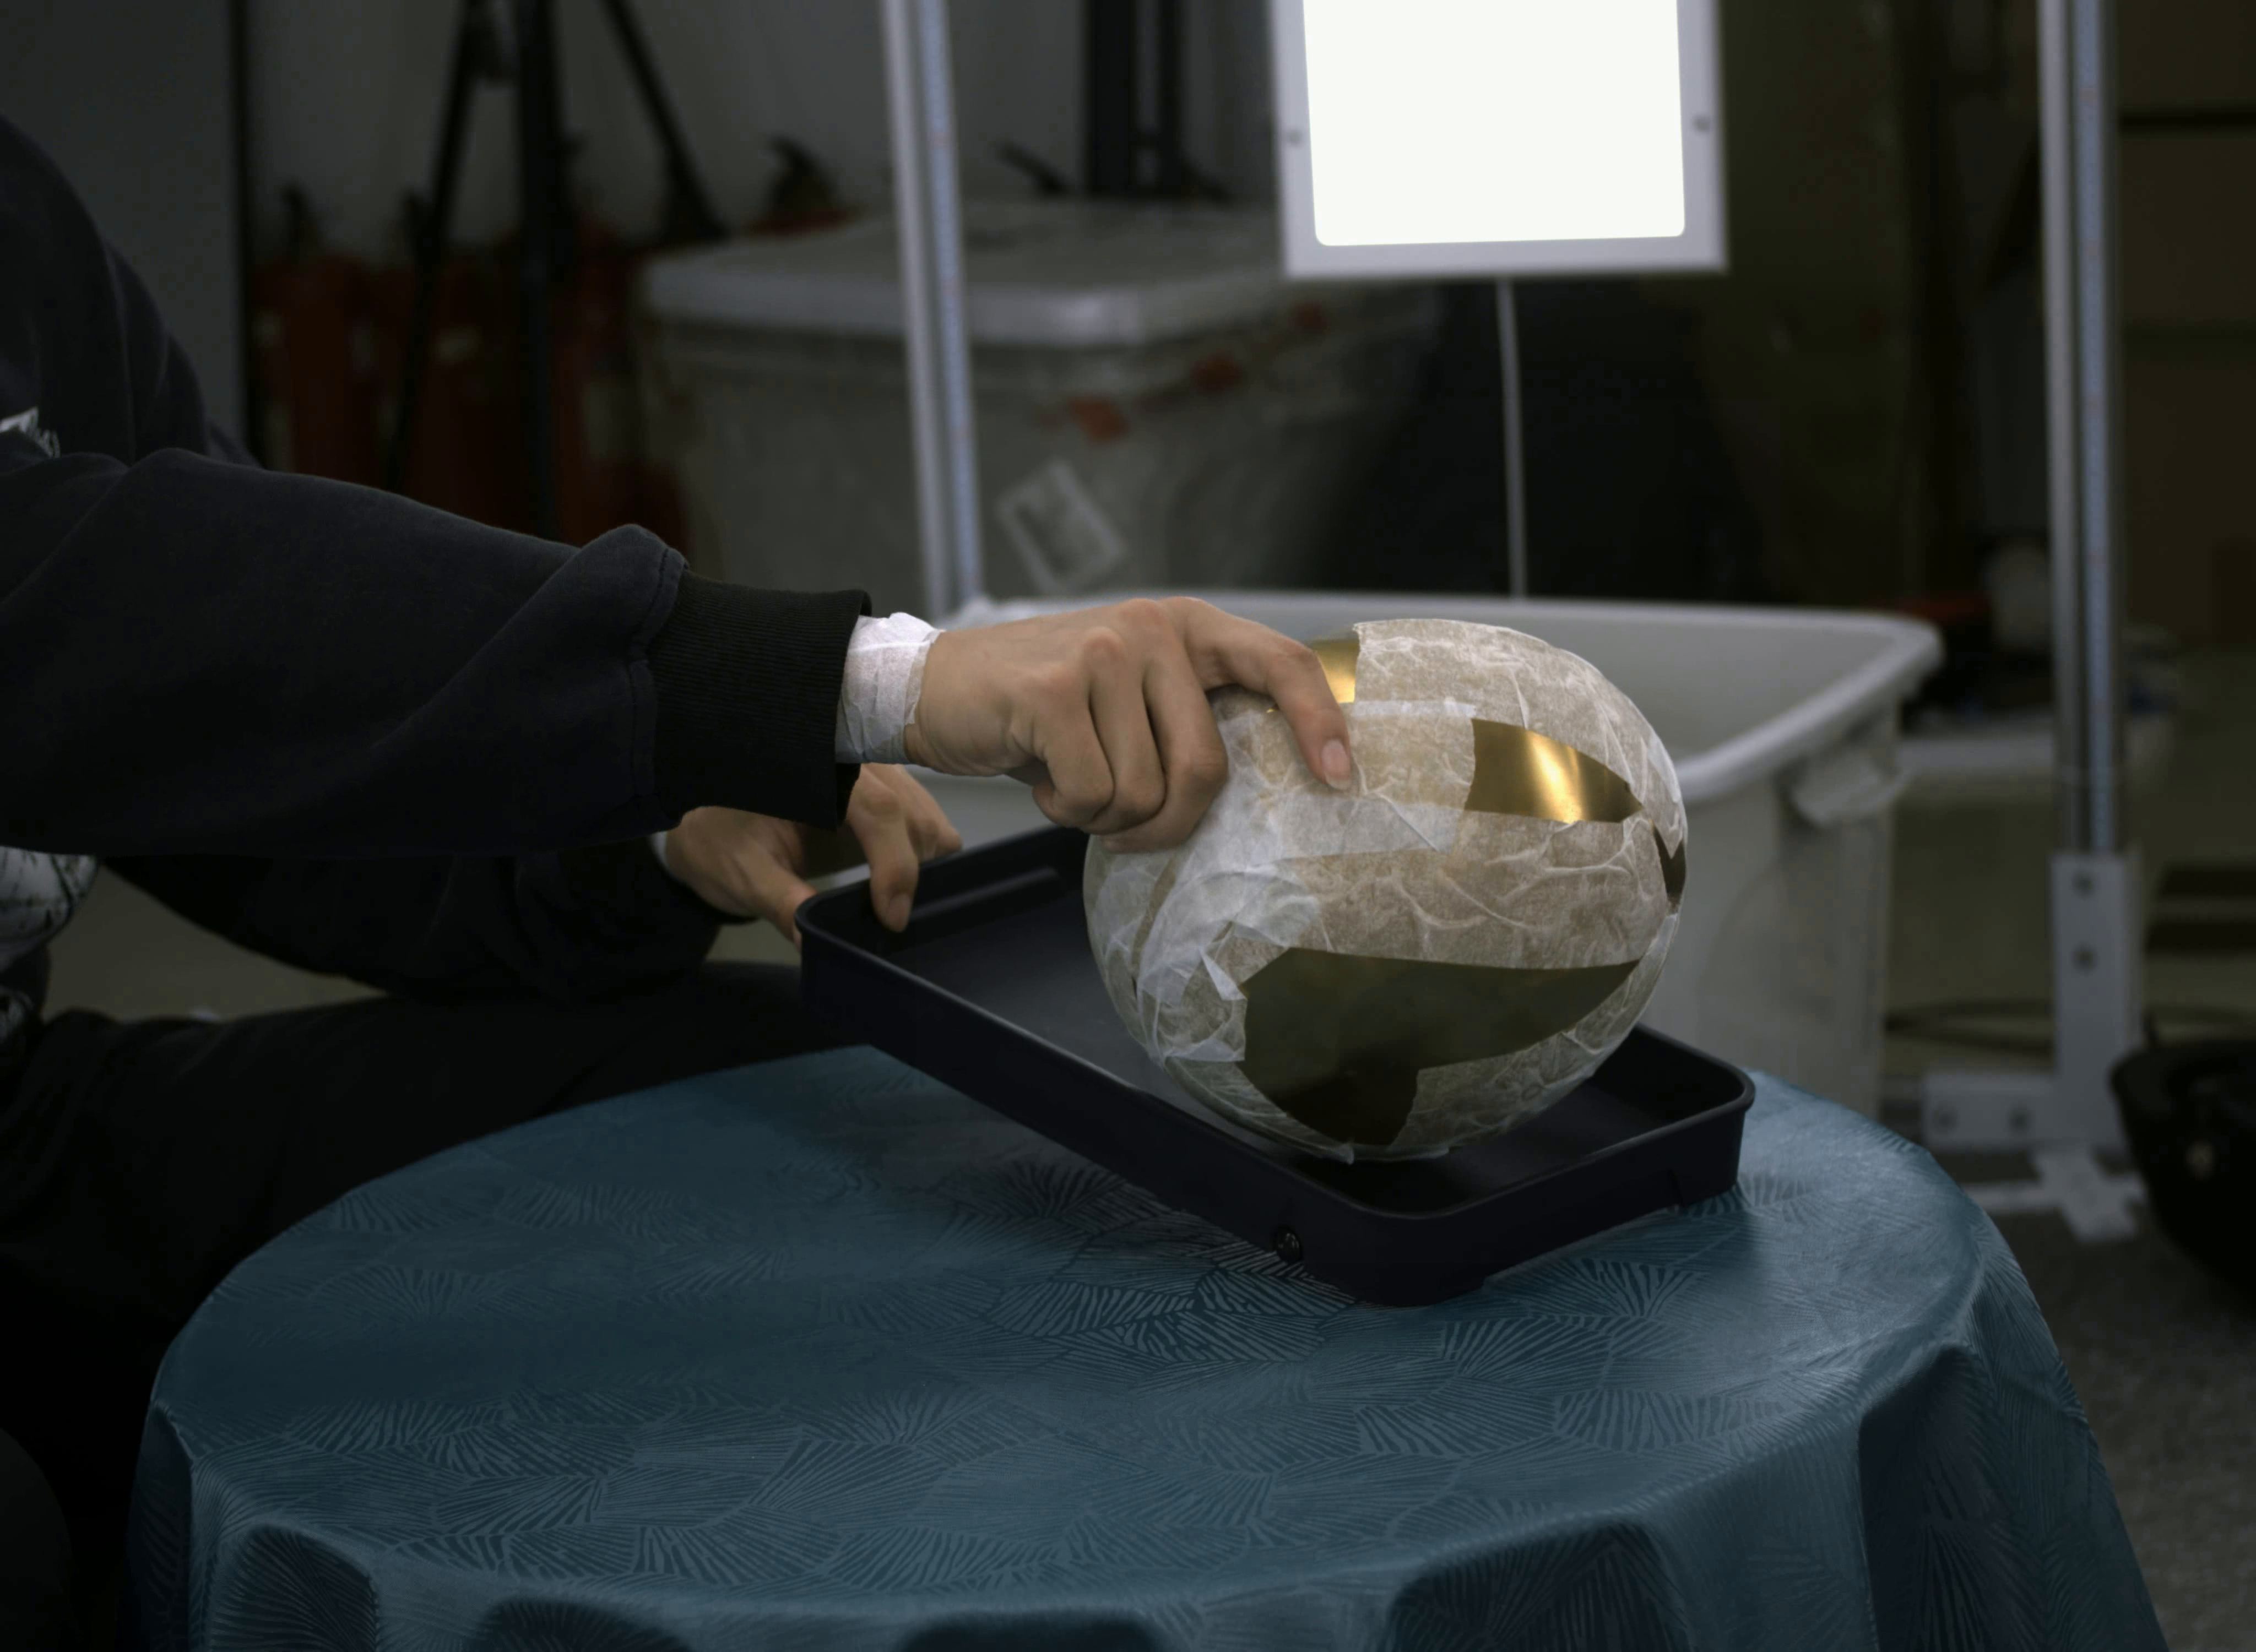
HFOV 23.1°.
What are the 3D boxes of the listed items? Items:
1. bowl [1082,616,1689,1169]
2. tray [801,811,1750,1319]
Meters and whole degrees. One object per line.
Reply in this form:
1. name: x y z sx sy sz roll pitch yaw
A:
1. bowl: 0.088 0.042 1.780 0.213 0.216 0.094 -5 39 -4
2. tray: 0.046 0.075 1.900 0.179 0.037 0.324 -14 29 -38
